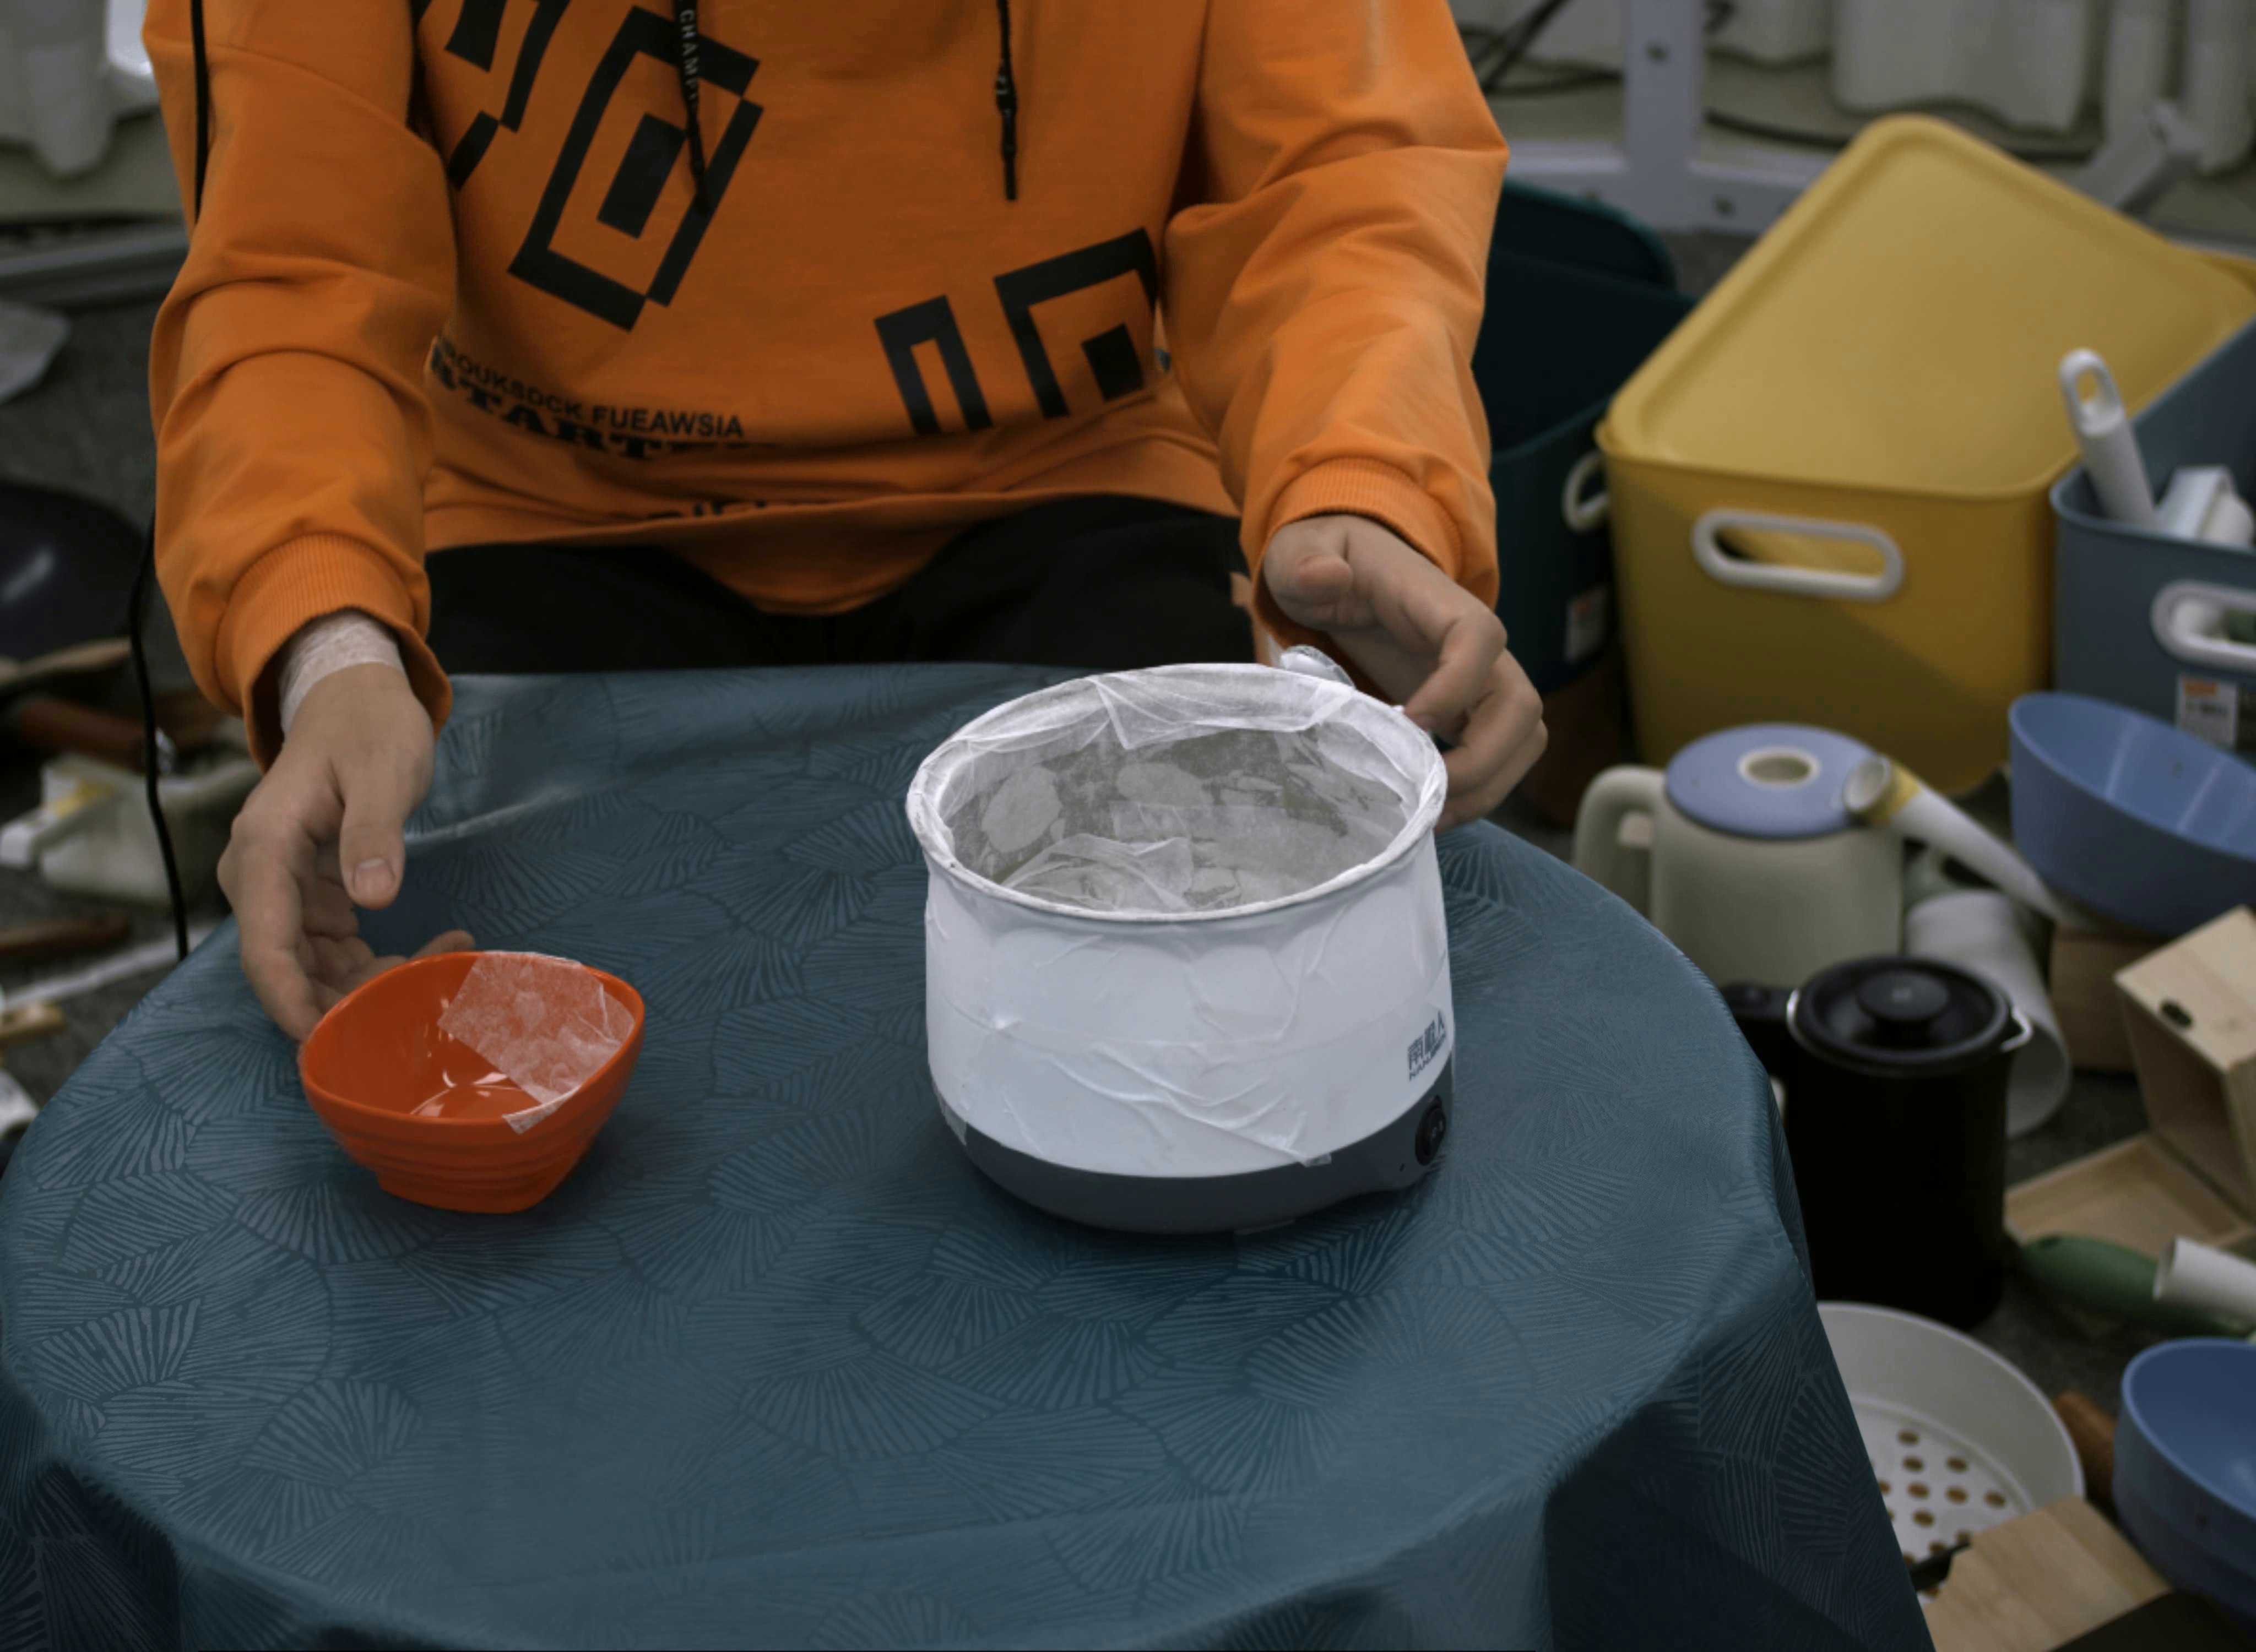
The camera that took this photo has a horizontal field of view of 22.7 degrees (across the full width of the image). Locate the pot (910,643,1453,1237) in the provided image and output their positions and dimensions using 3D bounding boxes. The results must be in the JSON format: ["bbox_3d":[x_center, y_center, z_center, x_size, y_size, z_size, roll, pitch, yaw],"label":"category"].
[{"bbox_3d":[0.031,0.030,1.888,0.177,0.135,0.238,10,30,22],"label":"pot"}]

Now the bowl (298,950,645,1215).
[{"bbox_3d":[-0.218,0.091,1.888,0.118,0.051,0.121,-3,28,2],"label":"bowl"}]
